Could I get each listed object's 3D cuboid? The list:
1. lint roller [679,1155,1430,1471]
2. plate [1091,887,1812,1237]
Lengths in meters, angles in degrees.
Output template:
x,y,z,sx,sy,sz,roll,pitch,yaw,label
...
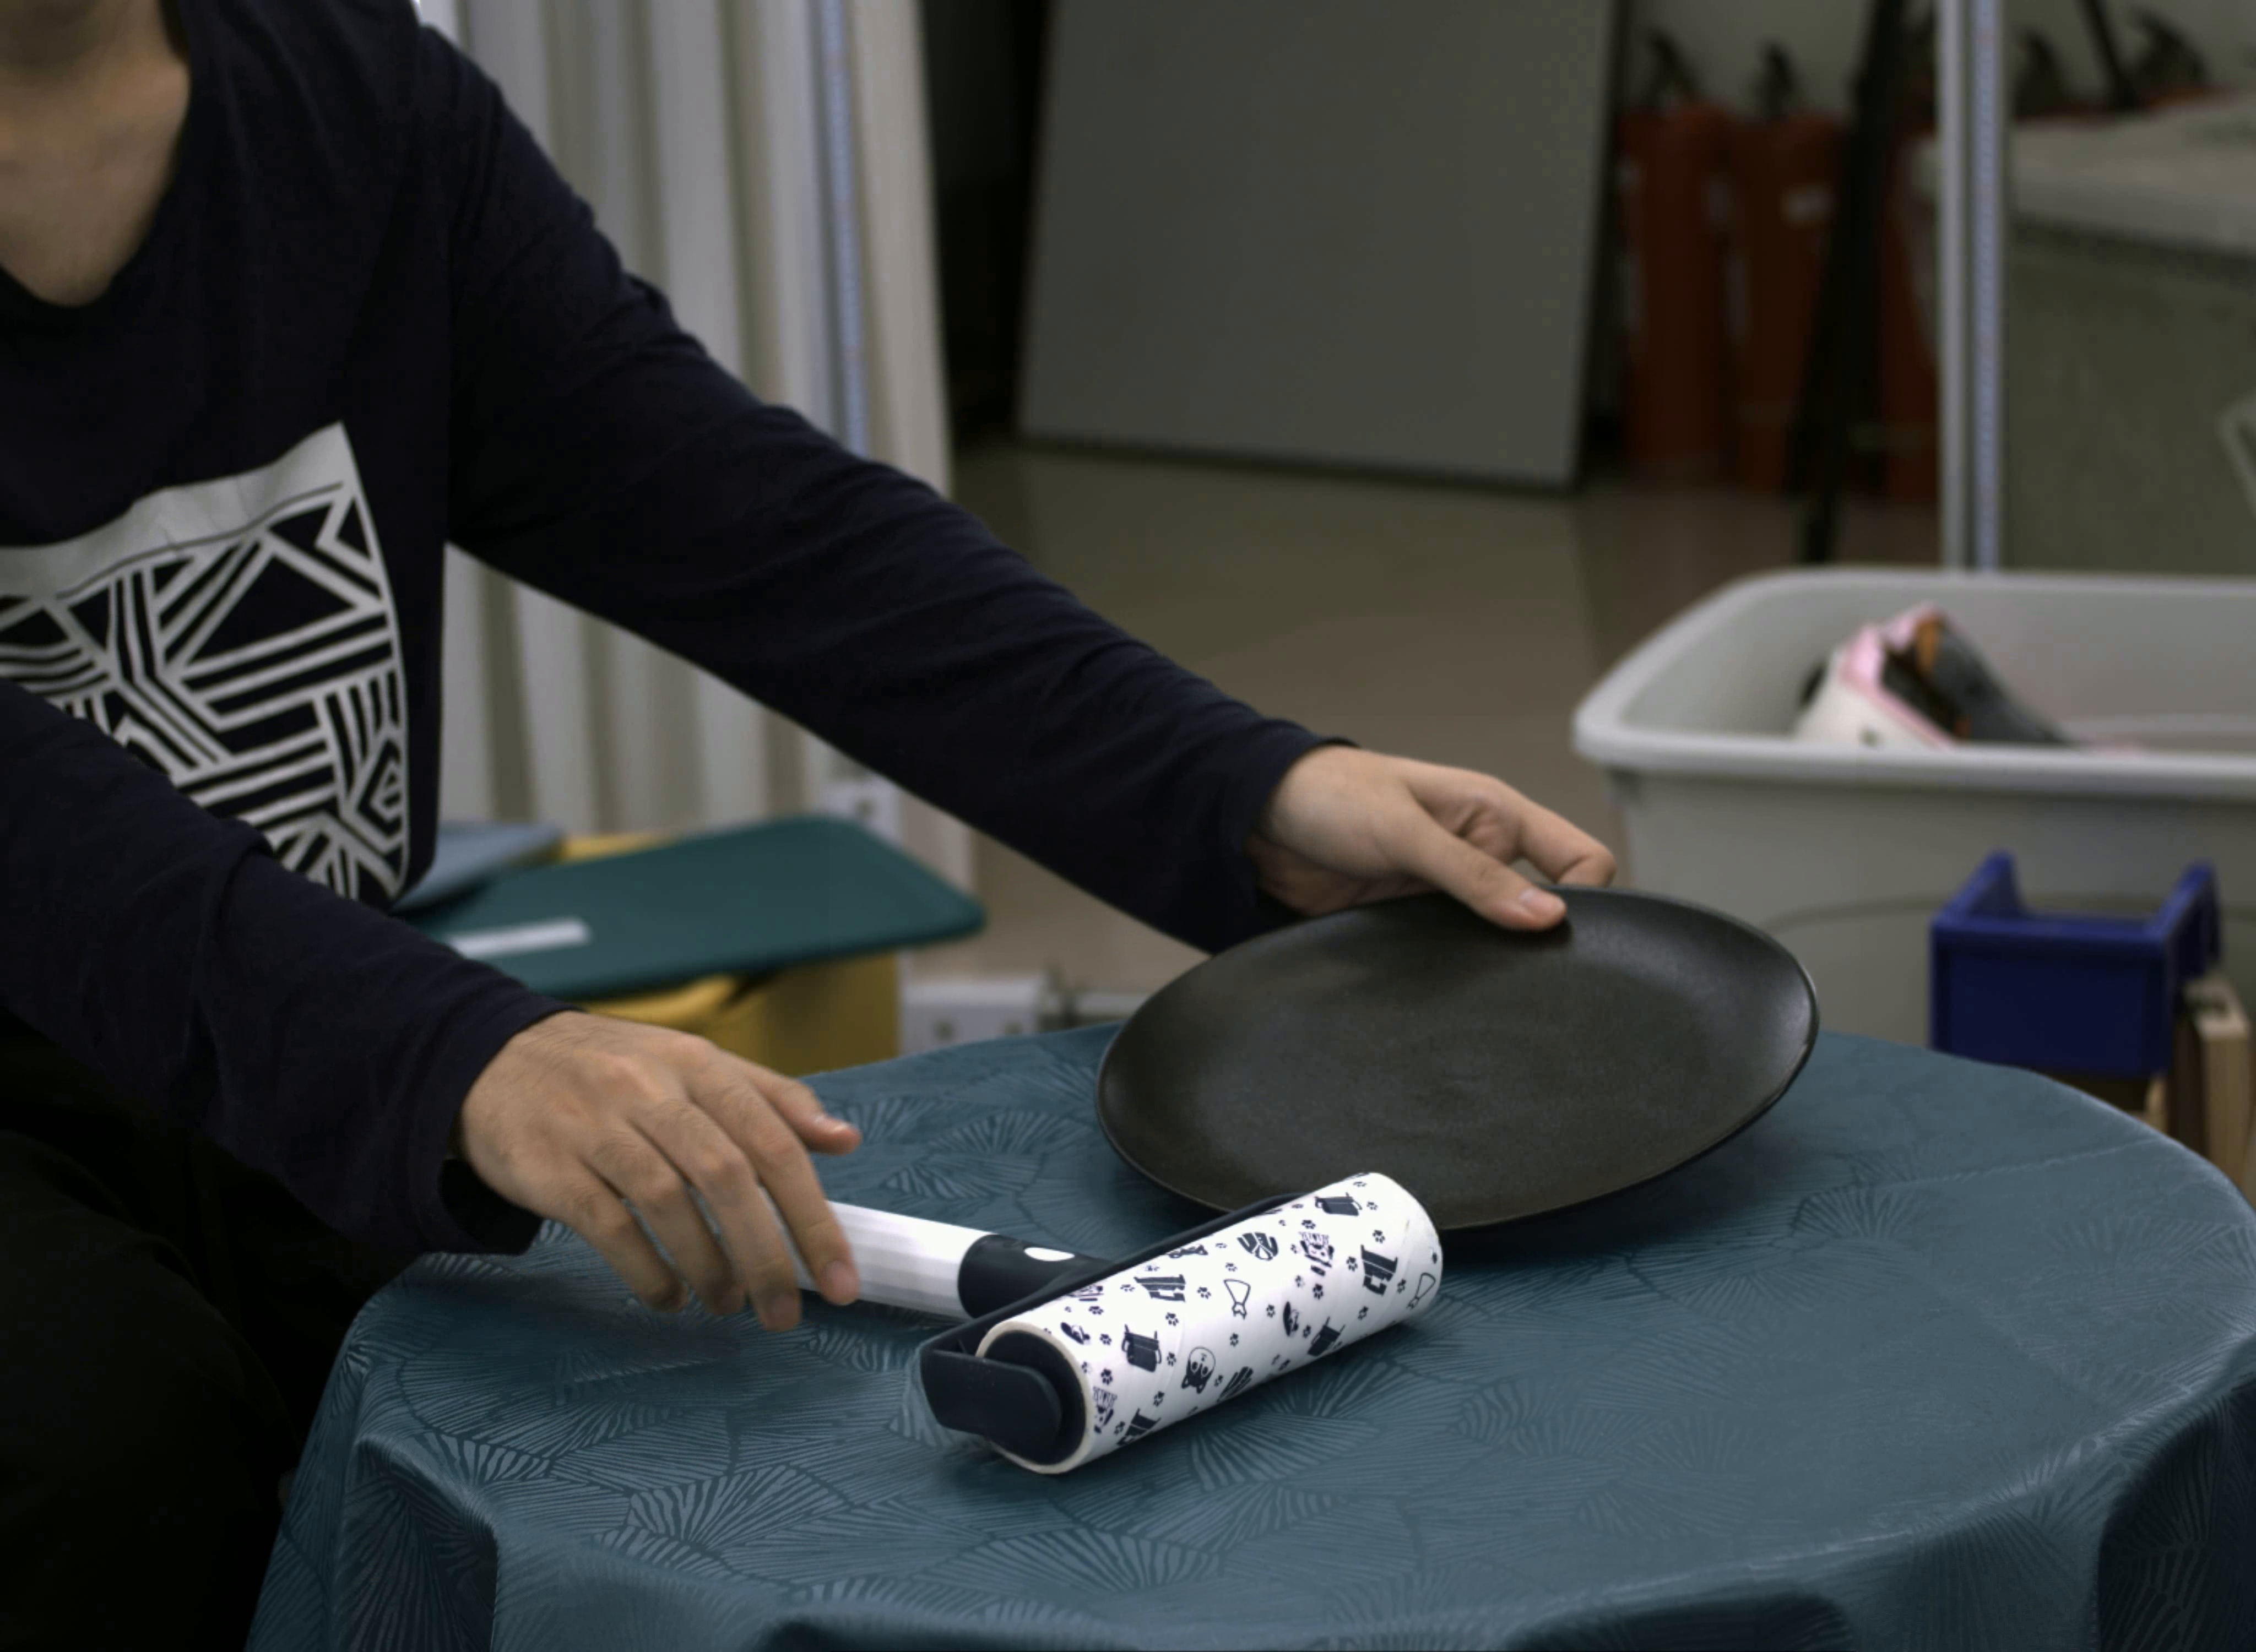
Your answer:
x,y,z,sx,sy,sz,roll,pitch,yaw,label
-0.051,0.137,1.642,0.249,0.051,0.173,4,16,42,lint roller
0.107,0.083,1.782,0.242,0.023,0.245,-9,24,3,plate
